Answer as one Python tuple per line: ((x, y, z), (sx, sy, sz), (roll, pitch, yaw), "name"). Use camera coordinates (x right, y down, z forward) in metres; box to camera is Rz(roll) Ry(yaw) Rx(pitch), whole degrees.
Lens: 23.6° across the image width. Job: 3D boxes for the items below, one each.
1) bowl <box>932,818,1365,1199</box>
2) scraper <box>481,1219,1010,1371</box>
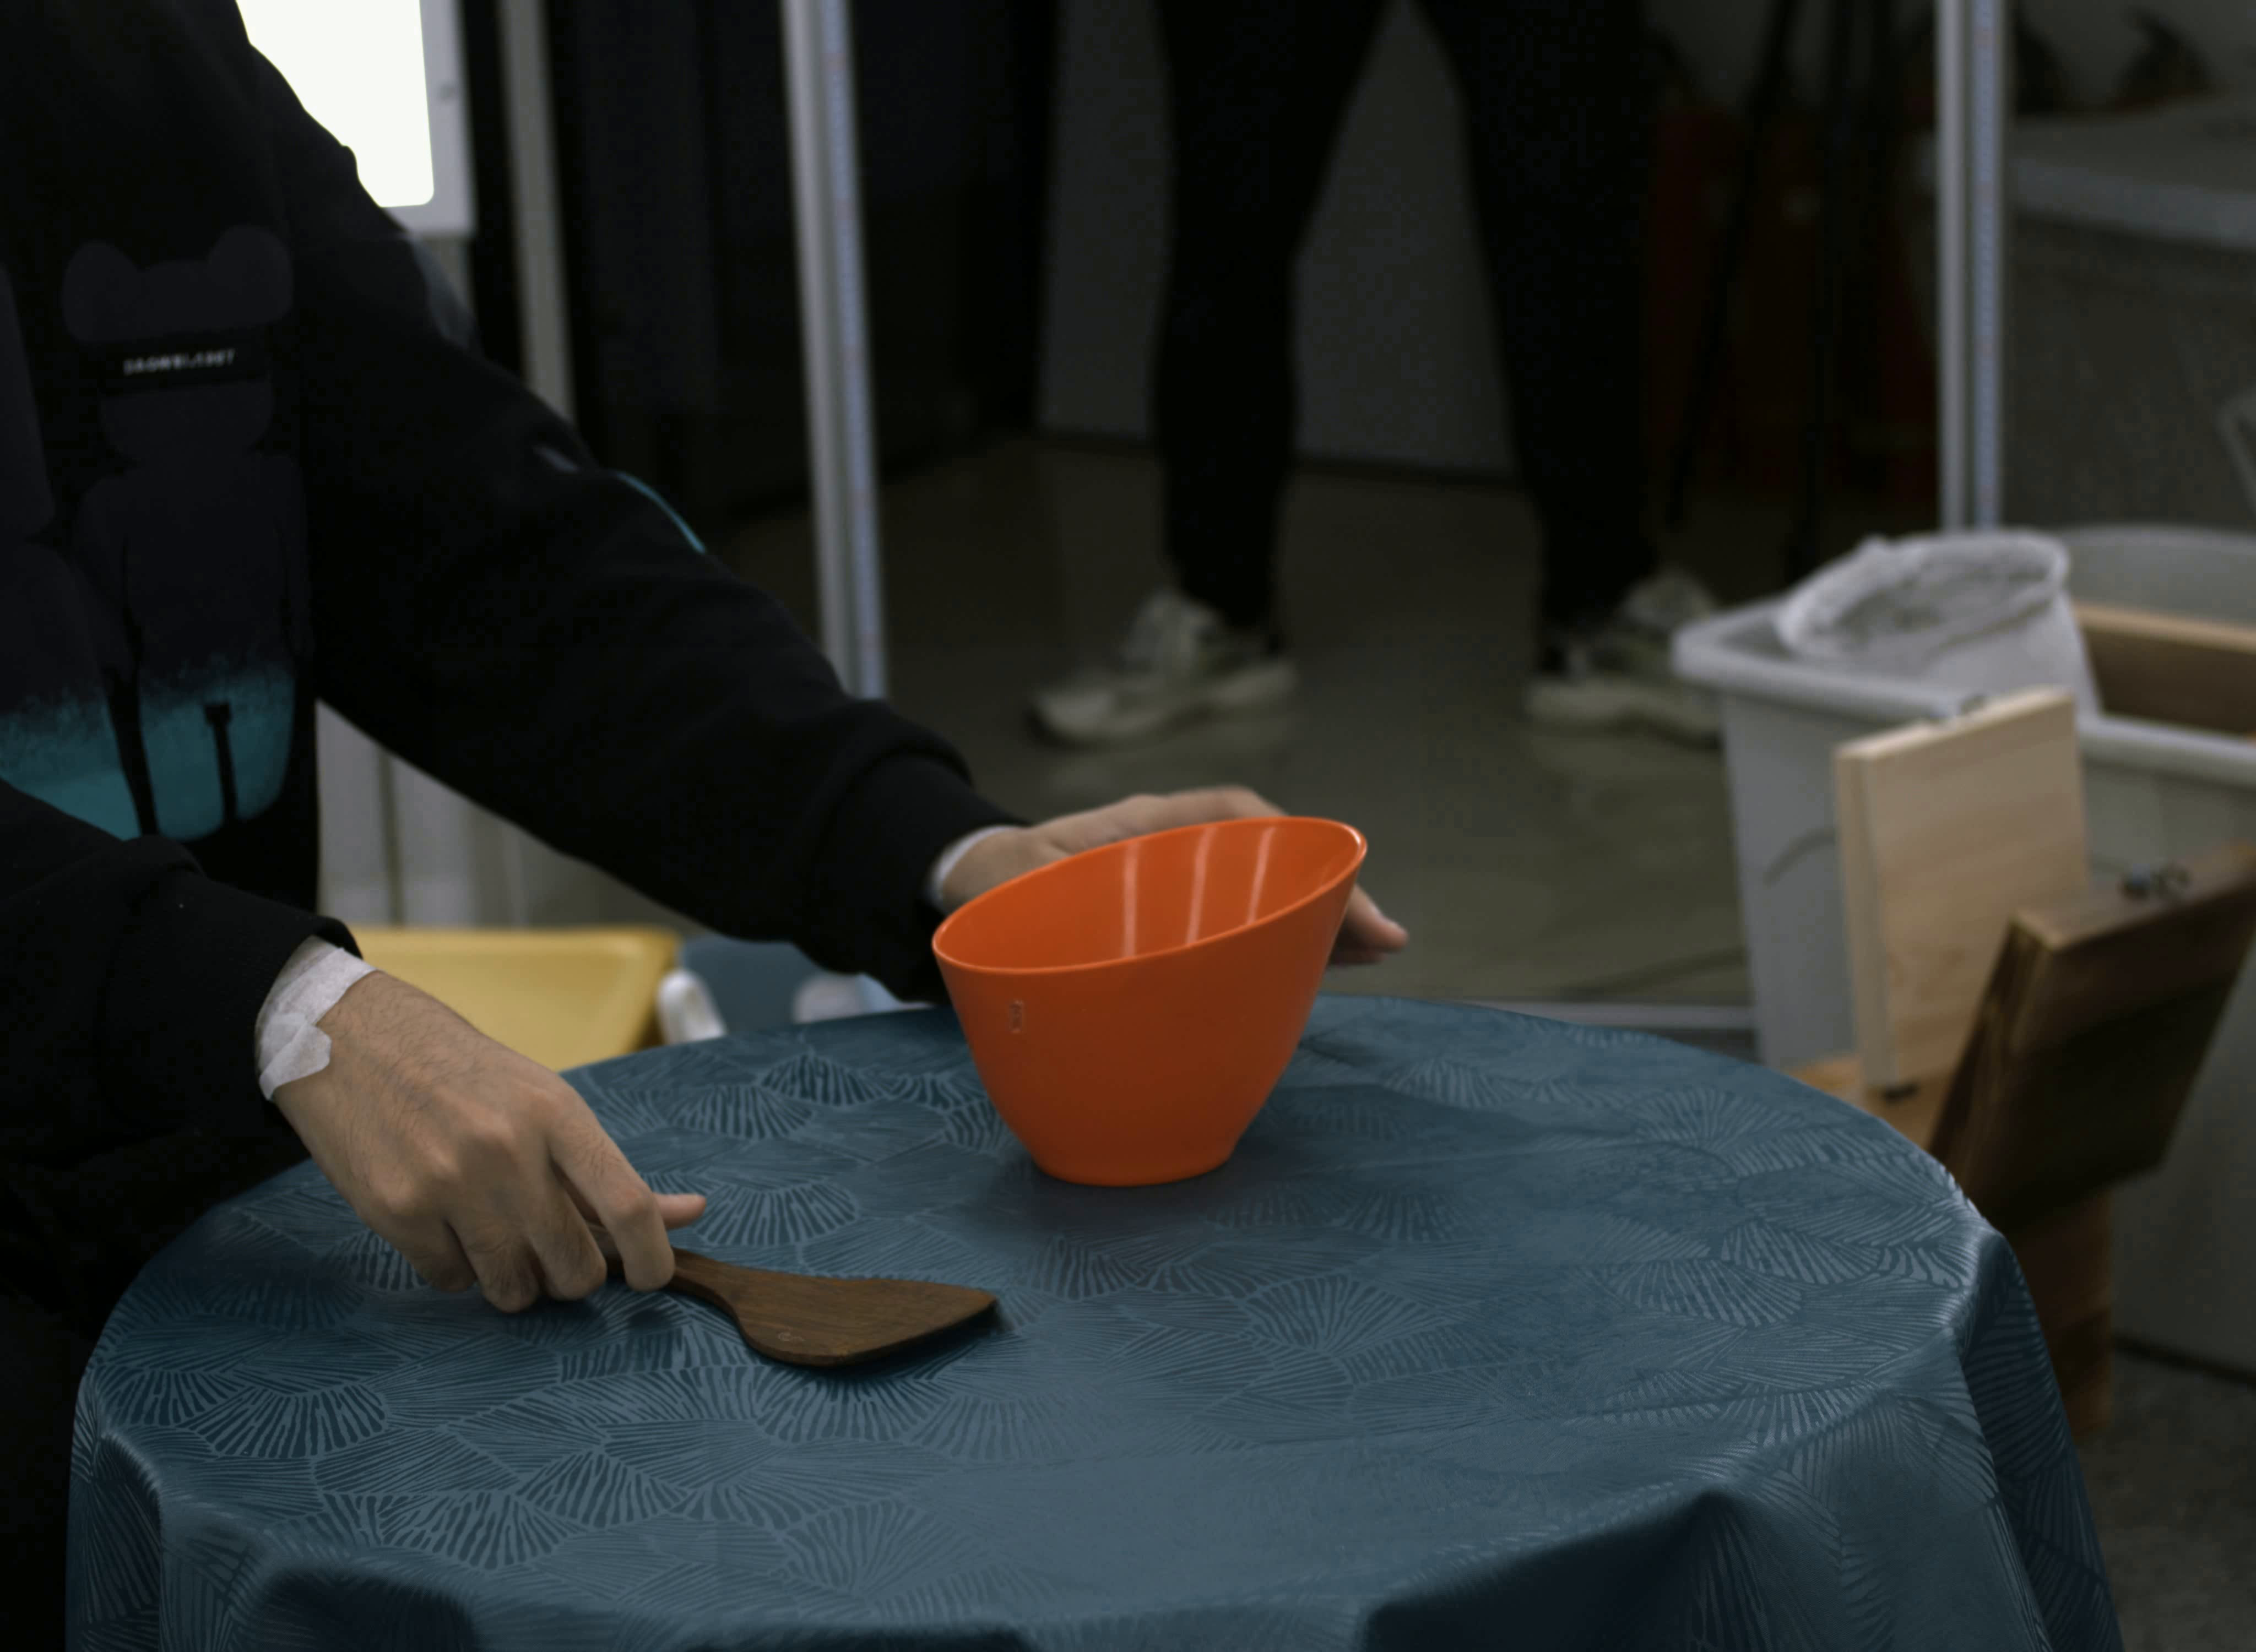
((0.010, 0.063, 1.794), (0.146, 0.106, 0.148), (-5, 15, 1), "bowl")
((-0.129, 0.145, 1.699), (0.213, 0.011, 0.074), (9, 18, 44), "scraper")
